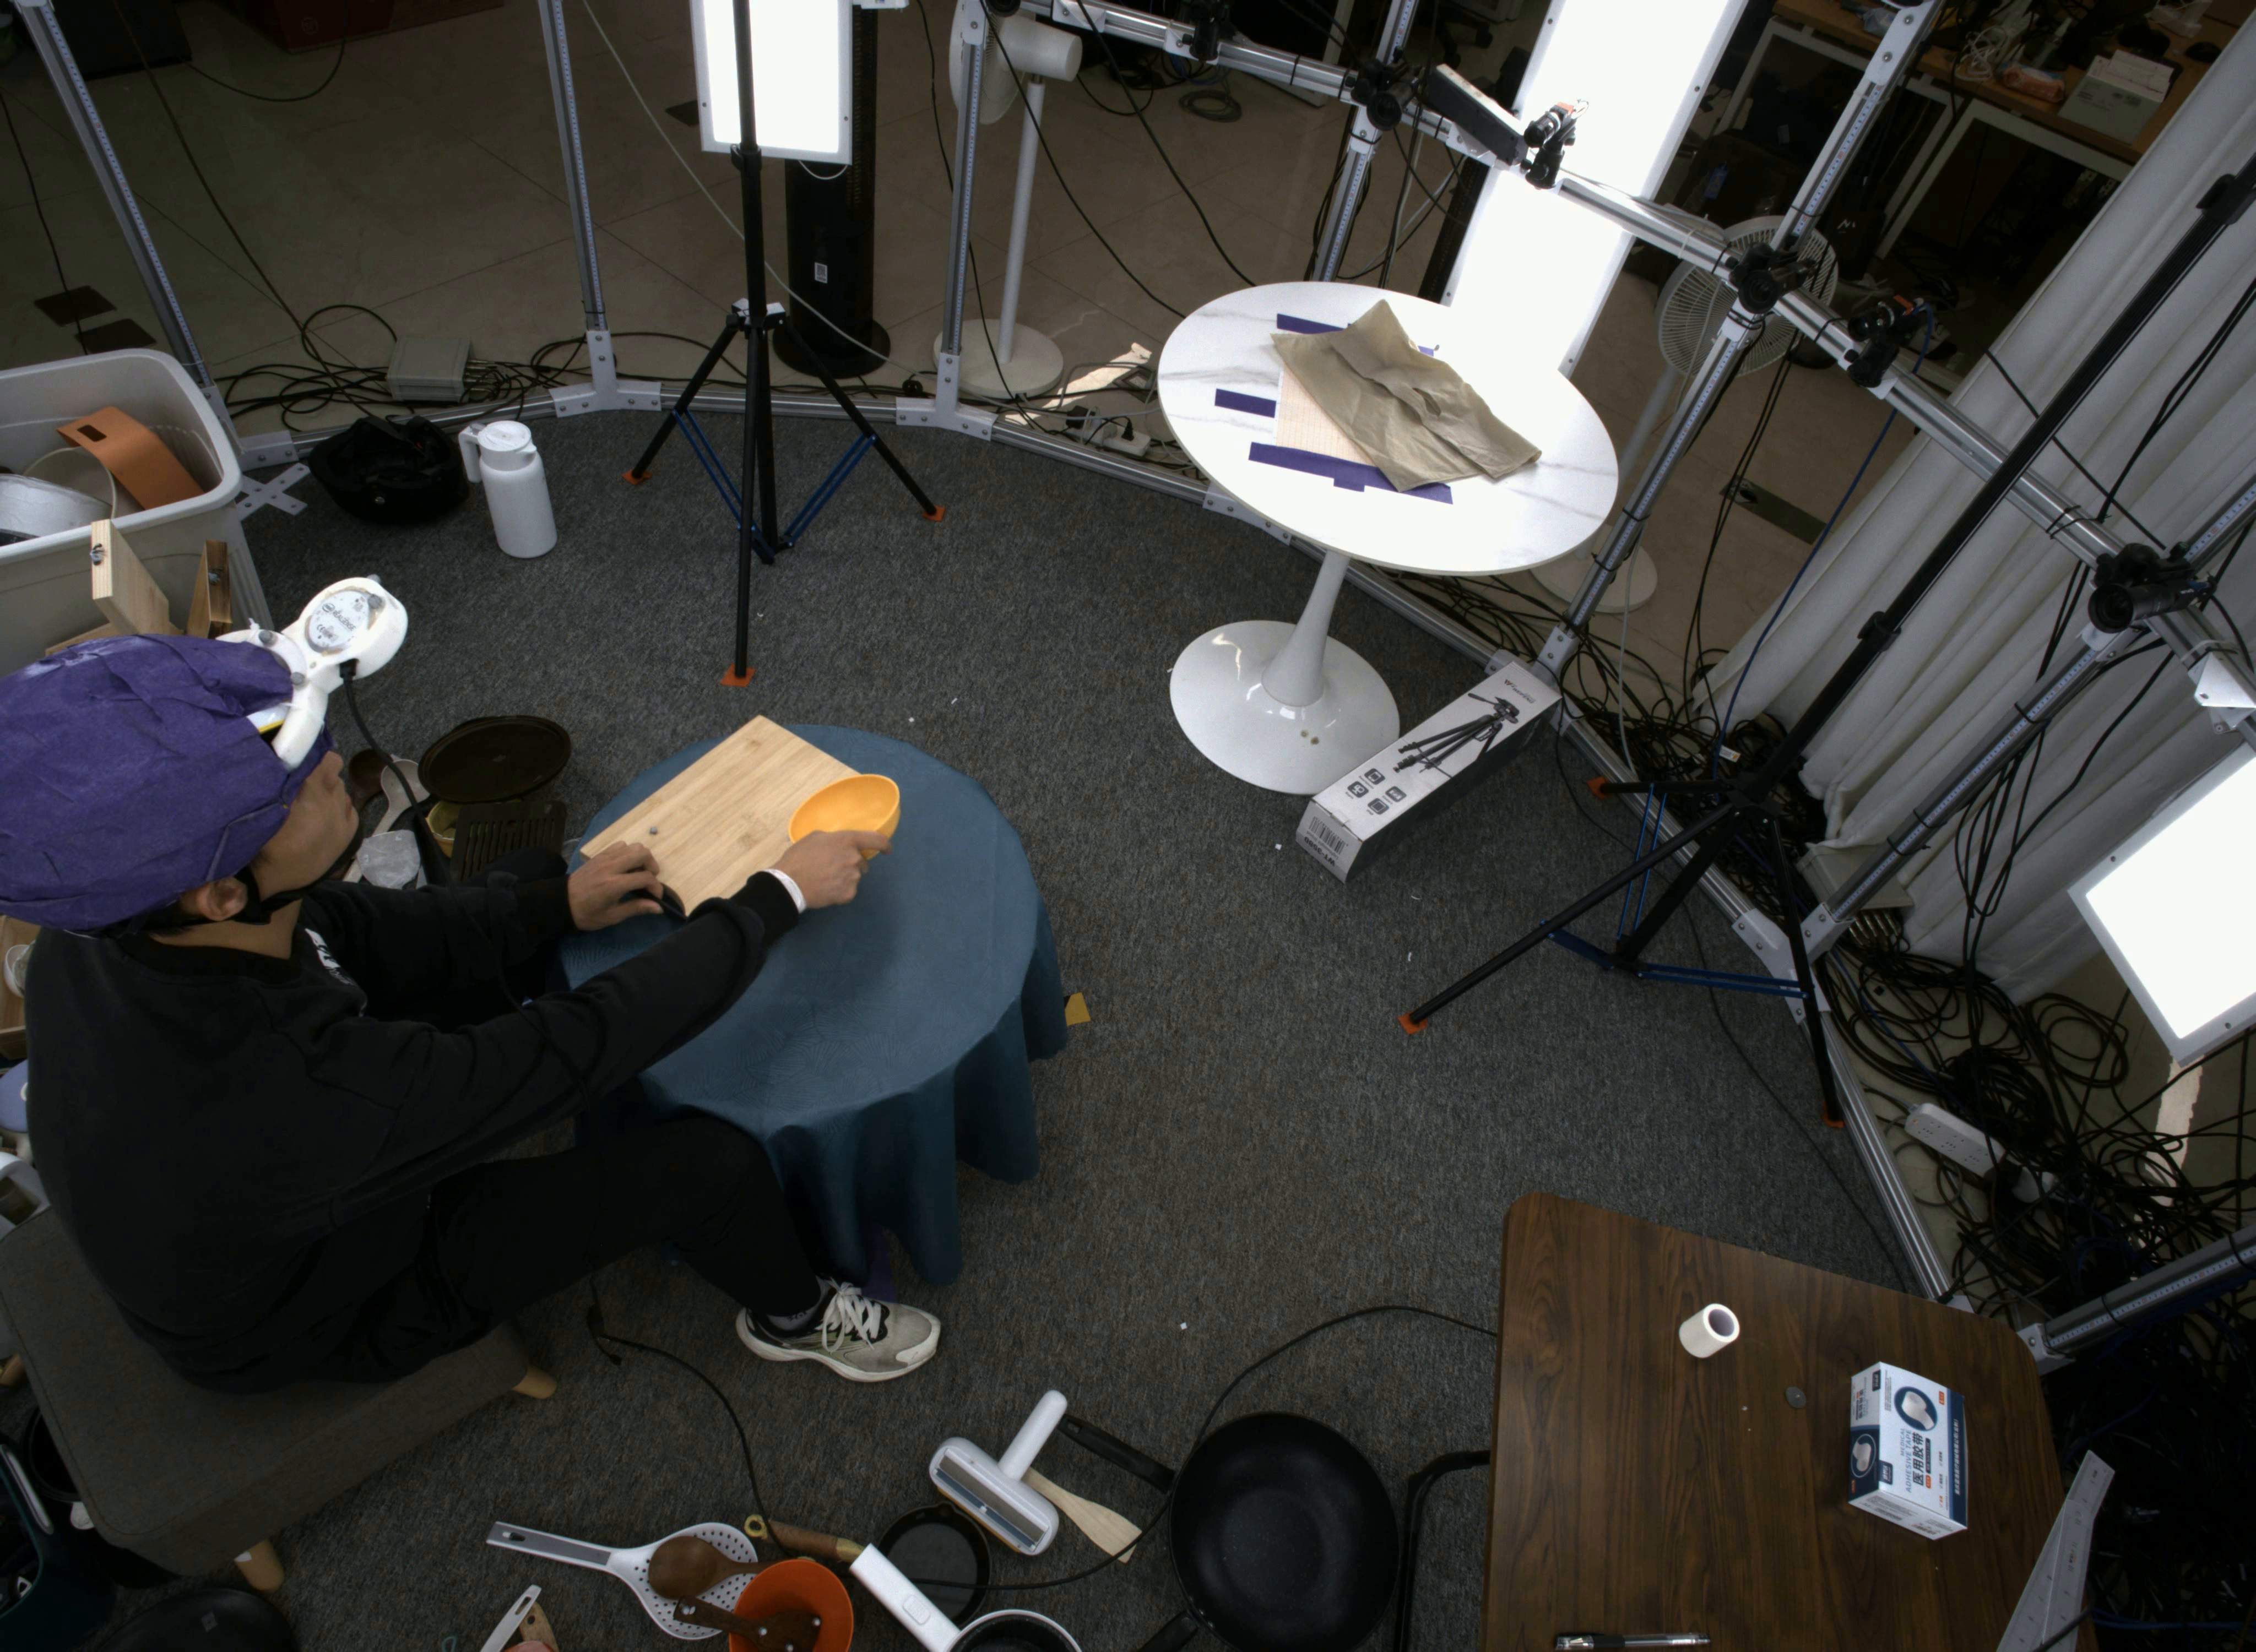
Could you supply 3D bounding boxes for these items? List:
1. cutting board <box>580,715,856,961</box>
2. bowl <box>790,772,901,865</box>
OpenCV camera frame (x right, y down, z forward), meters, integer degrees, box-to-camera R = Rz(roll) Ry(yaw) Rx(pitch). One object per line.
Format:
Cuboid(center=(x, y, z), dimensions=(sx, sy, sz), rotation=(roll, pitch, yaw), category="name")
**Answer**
Cuboid(center=(-0.497, 0.003, 1.669), dimensions=(0.246, 0.024, 0.347), rotation=(30, 45, 9), category="cutting board")
Cuboid(center=(-0.338, 0.002, 1.599), dimensions=(0.143, 0.062, 0.142), rotation=(-11, 40, 11), category="bowl")
